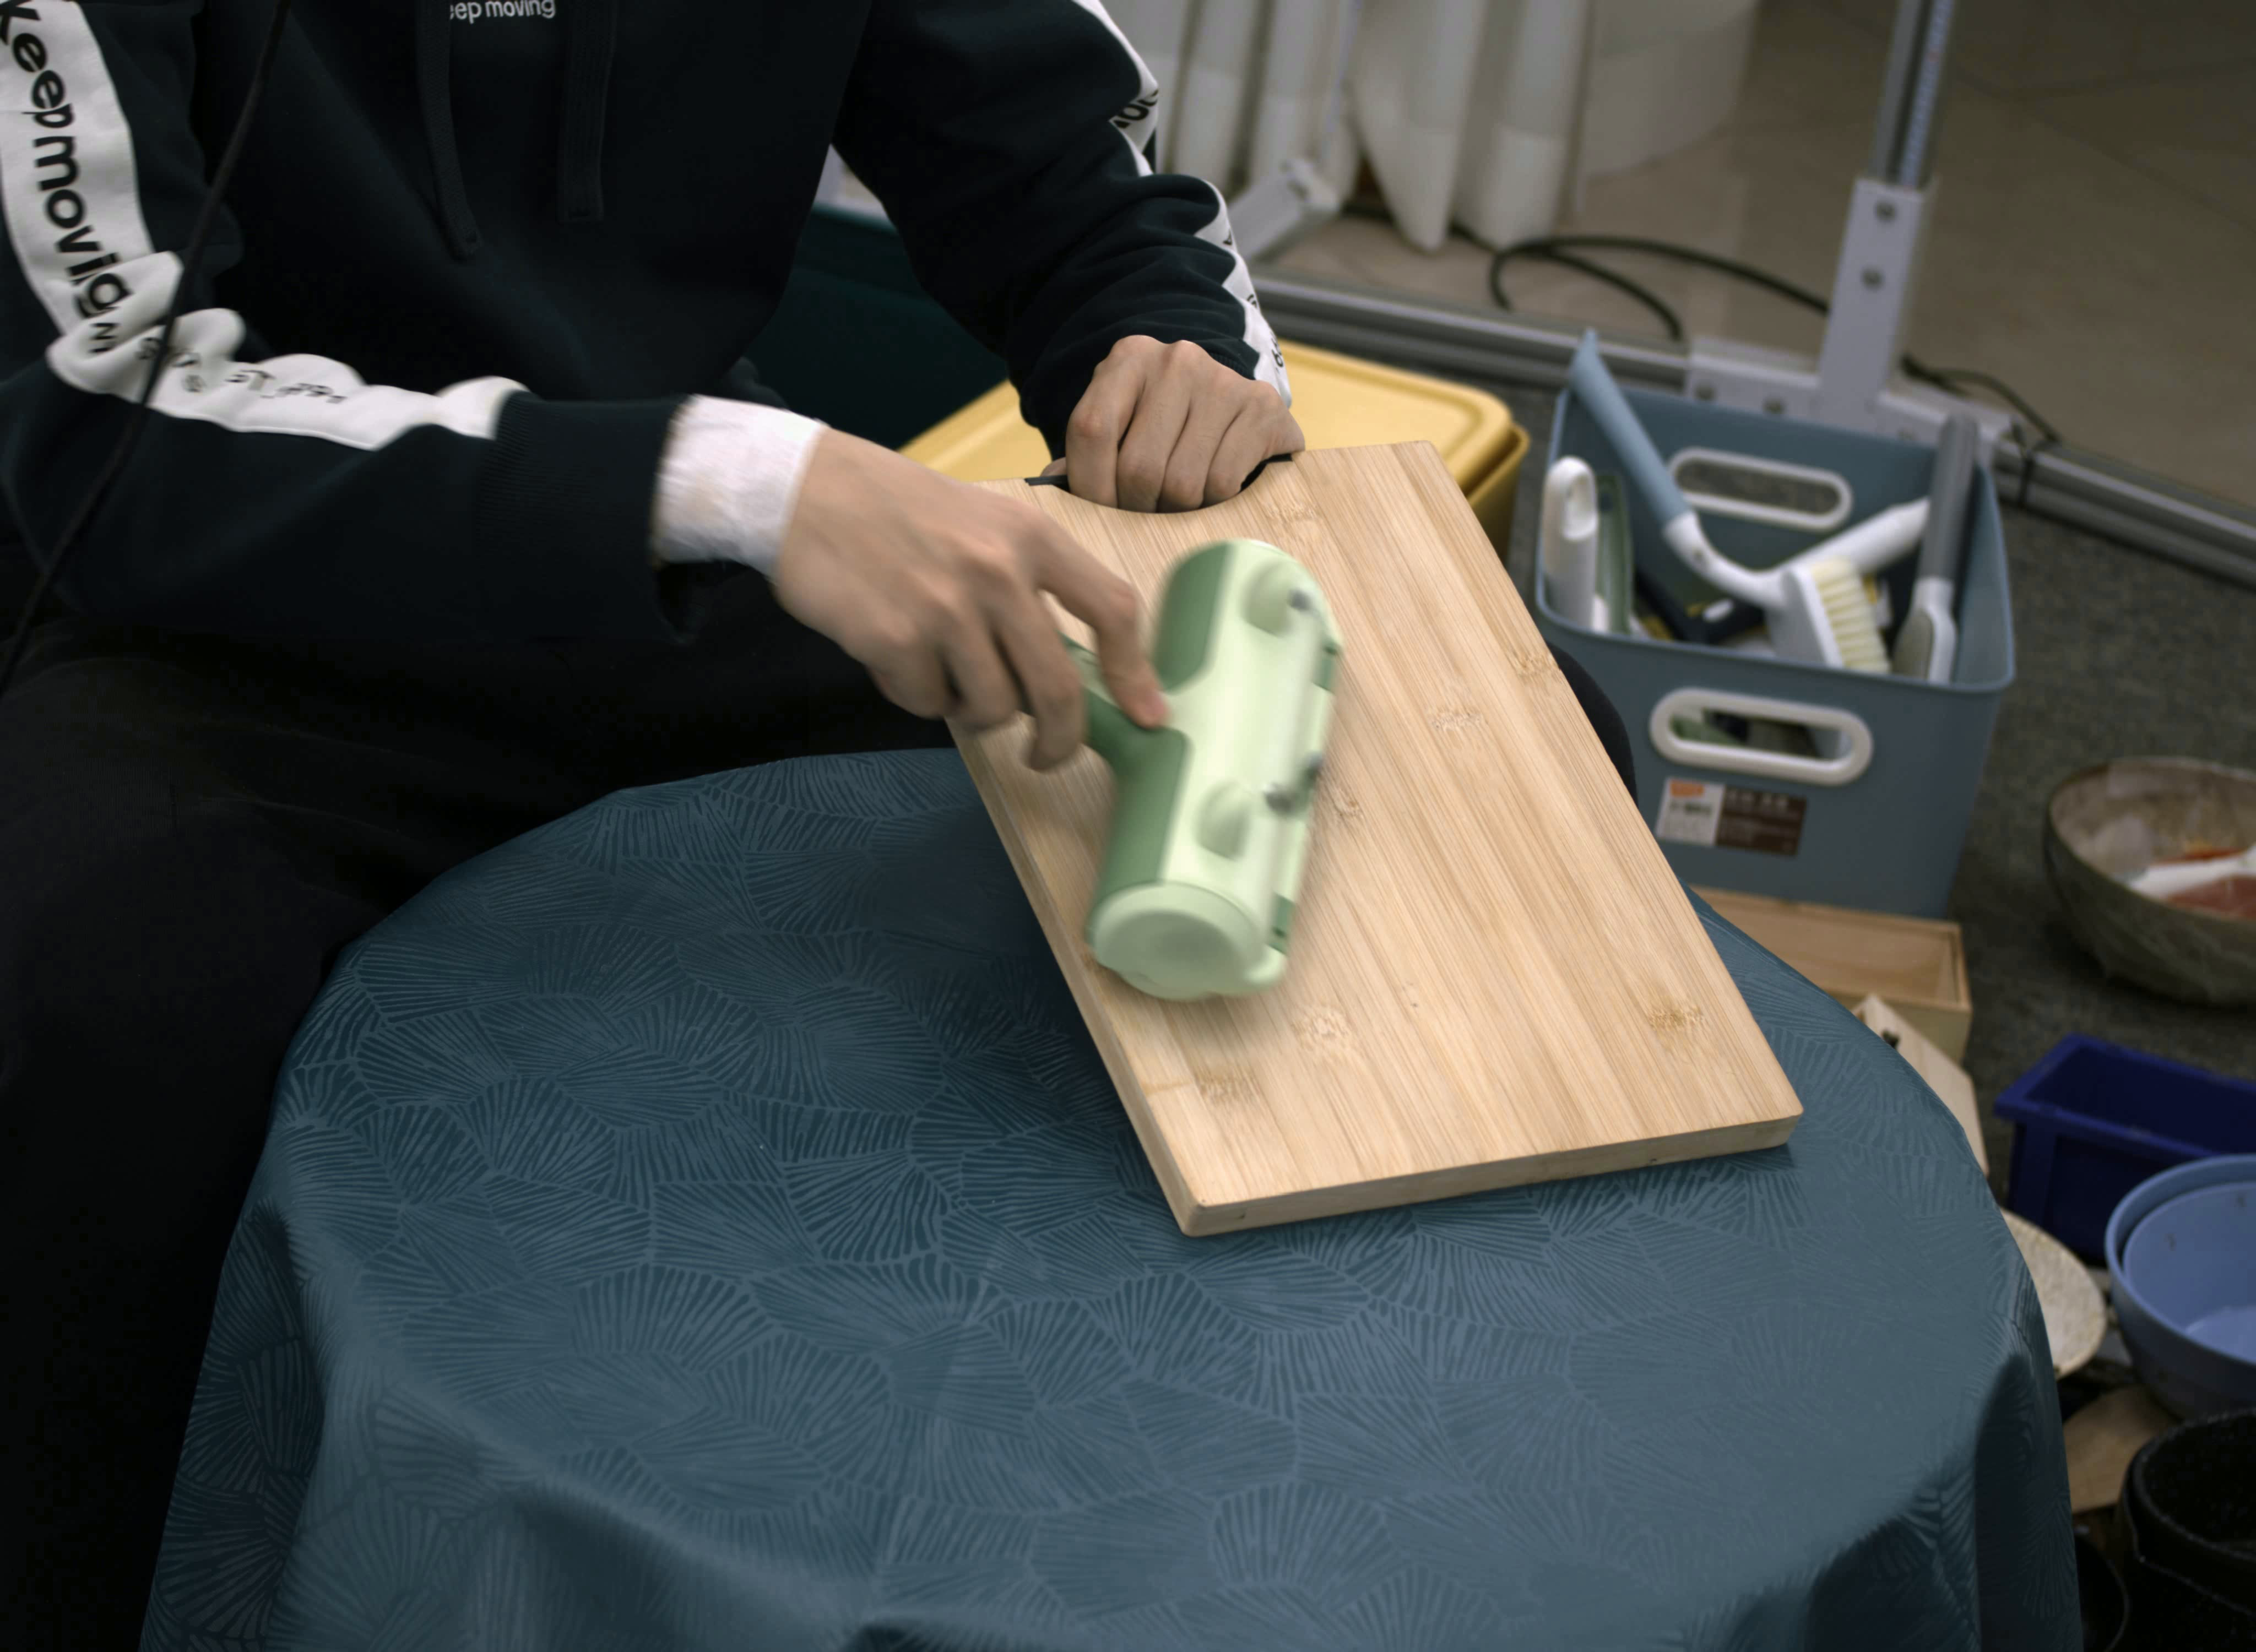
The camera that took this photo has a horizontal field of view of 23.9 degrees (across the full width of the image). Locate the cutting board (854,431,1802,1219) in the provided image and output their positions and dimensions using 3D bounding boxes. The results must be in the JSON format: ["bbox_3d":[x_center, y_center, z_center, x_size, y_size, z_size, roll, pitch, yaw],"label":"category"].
[{"bbox_3d":[0.067,-0.008,1.922,0.249,0.023,0.352,-7,50,-25],"label":"cutting board"}]

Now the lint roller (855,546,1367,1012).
[{"bbox_3d":[-0.003,-0.051,1.846,0.182,0.082,0.200,33,41,-17],"label":"lint roller"}]
